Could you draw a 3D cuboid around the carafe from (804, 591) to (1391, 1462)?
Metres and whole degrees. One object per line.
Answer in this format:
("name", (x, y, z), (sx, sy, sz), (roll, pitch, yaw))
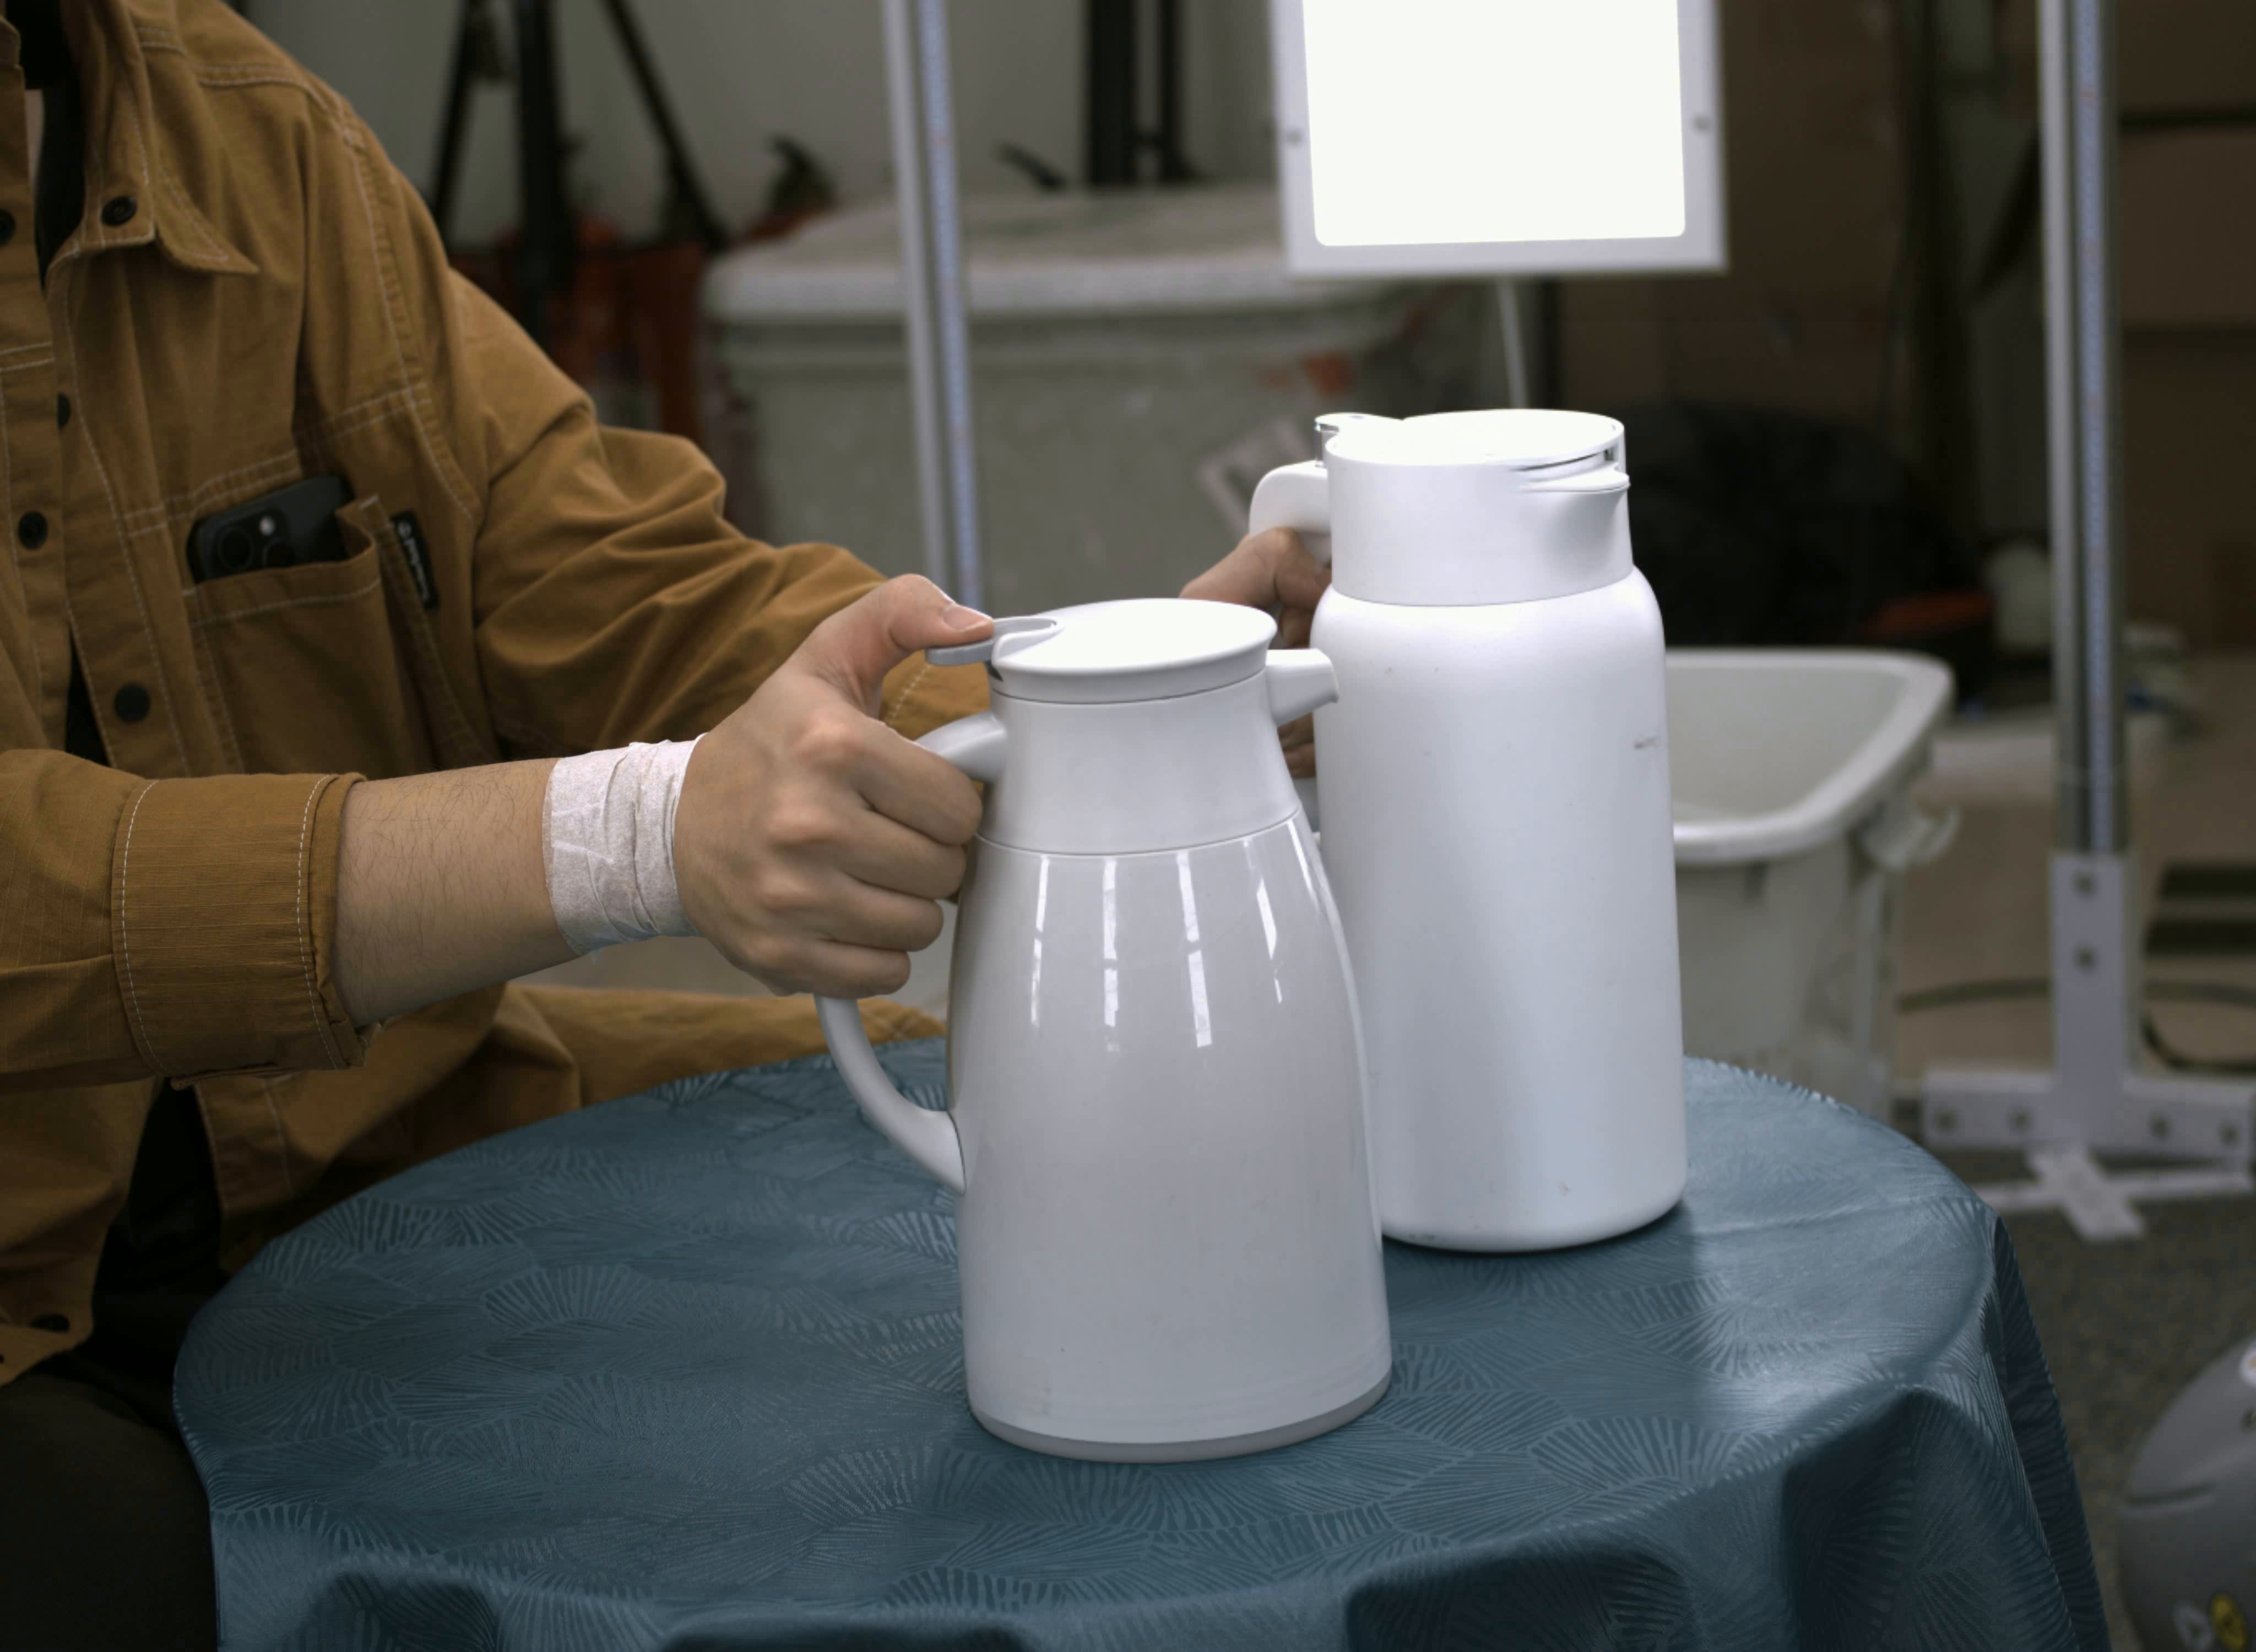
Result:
("carafe", (-0.012, 0.057, 1.666), (0.166, 0.249, 0.133), (-8, 14, -9))

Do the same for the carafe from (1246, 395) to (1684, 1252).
("carafe", (0.109, -0.003, 1.826), (0.121, 0.270, 0.176), (-17, 18, -35))
